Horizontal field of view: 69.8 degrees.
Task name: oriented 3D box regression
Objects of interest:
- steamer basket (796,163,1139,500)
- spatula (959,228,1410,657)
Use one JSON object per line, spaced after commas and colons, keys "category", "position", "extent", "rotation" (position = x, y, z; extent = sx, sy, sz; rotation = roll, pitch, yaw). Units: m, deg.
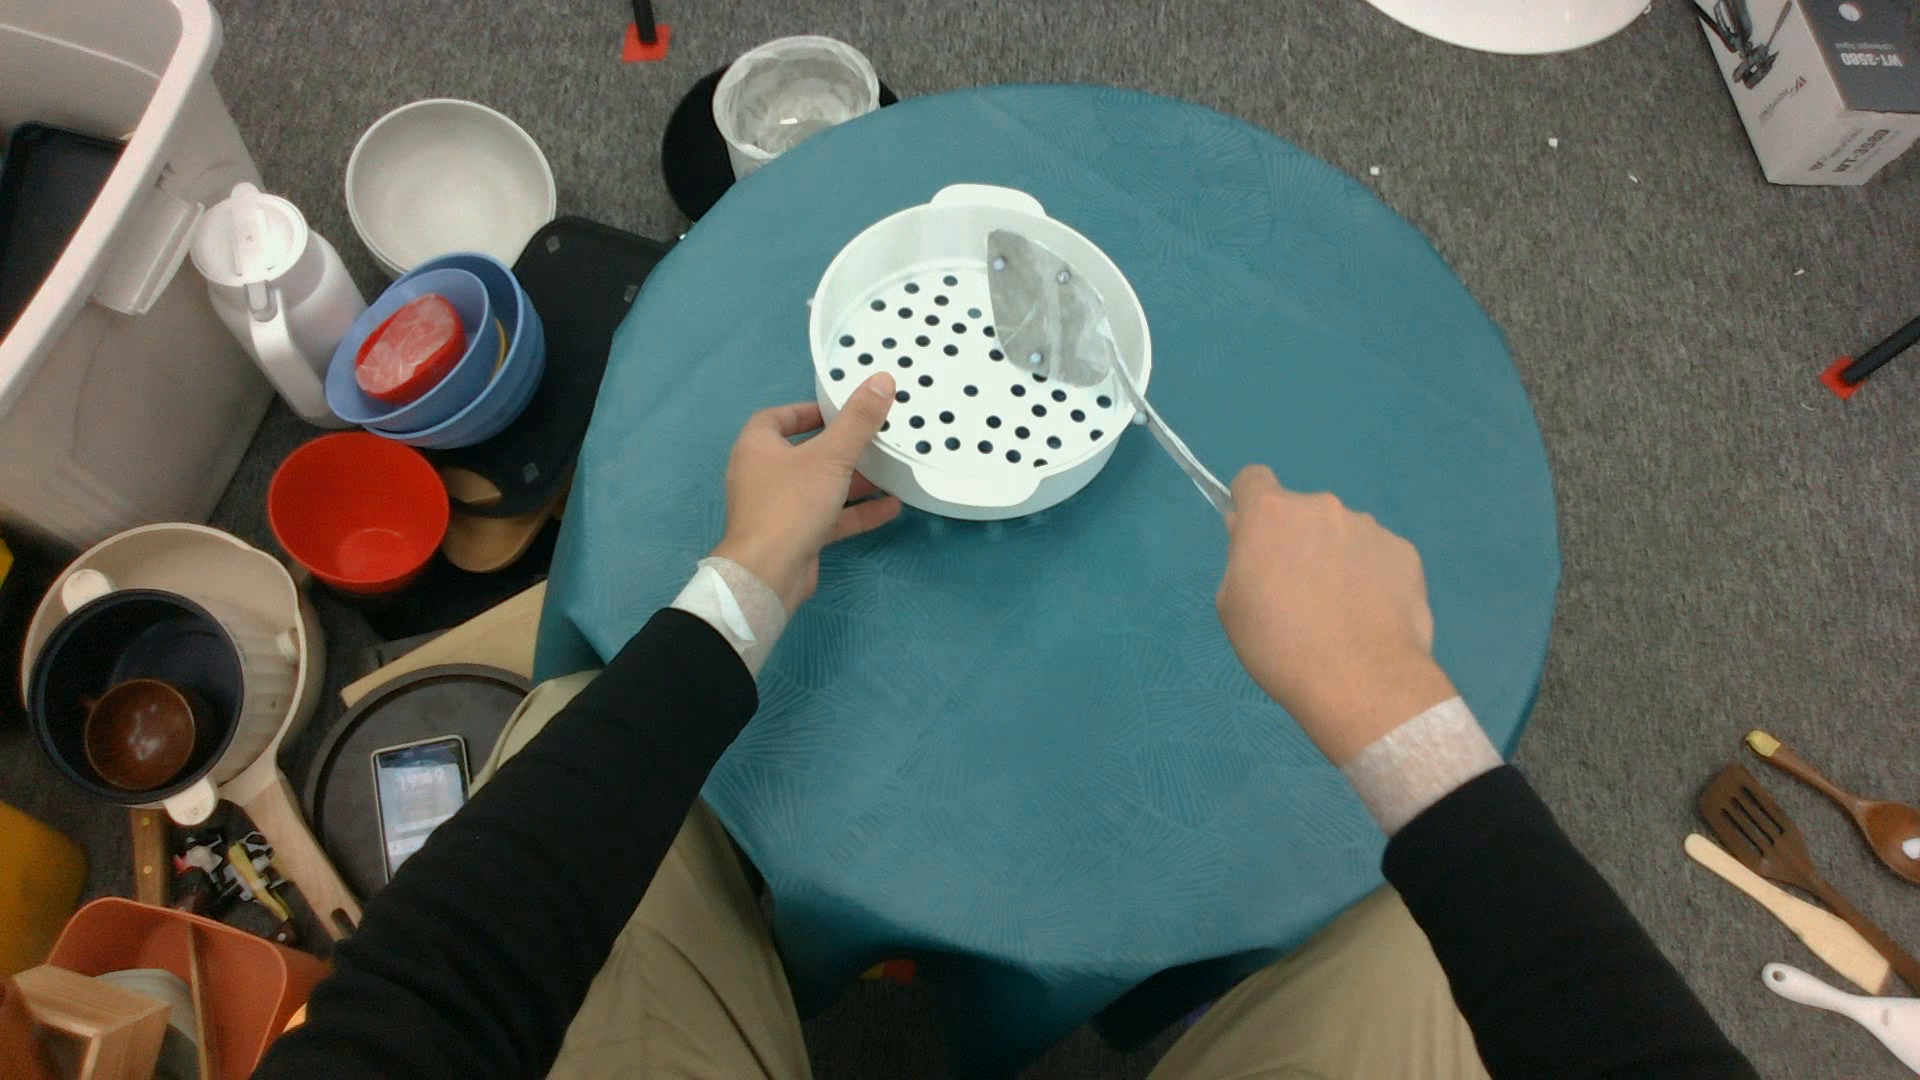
{"category": "steamer basket", "position": [0.003, -0.119, 0.828], "extent": [0.202, 0.069, 0.231], "rotation": [5, 63, -4]}
{"category": "spatula", "position": [0.099, -0.055, 0.717], "extent": [0.045, 0.098, 0.365], "rotation": [-23, 46, -13]}
